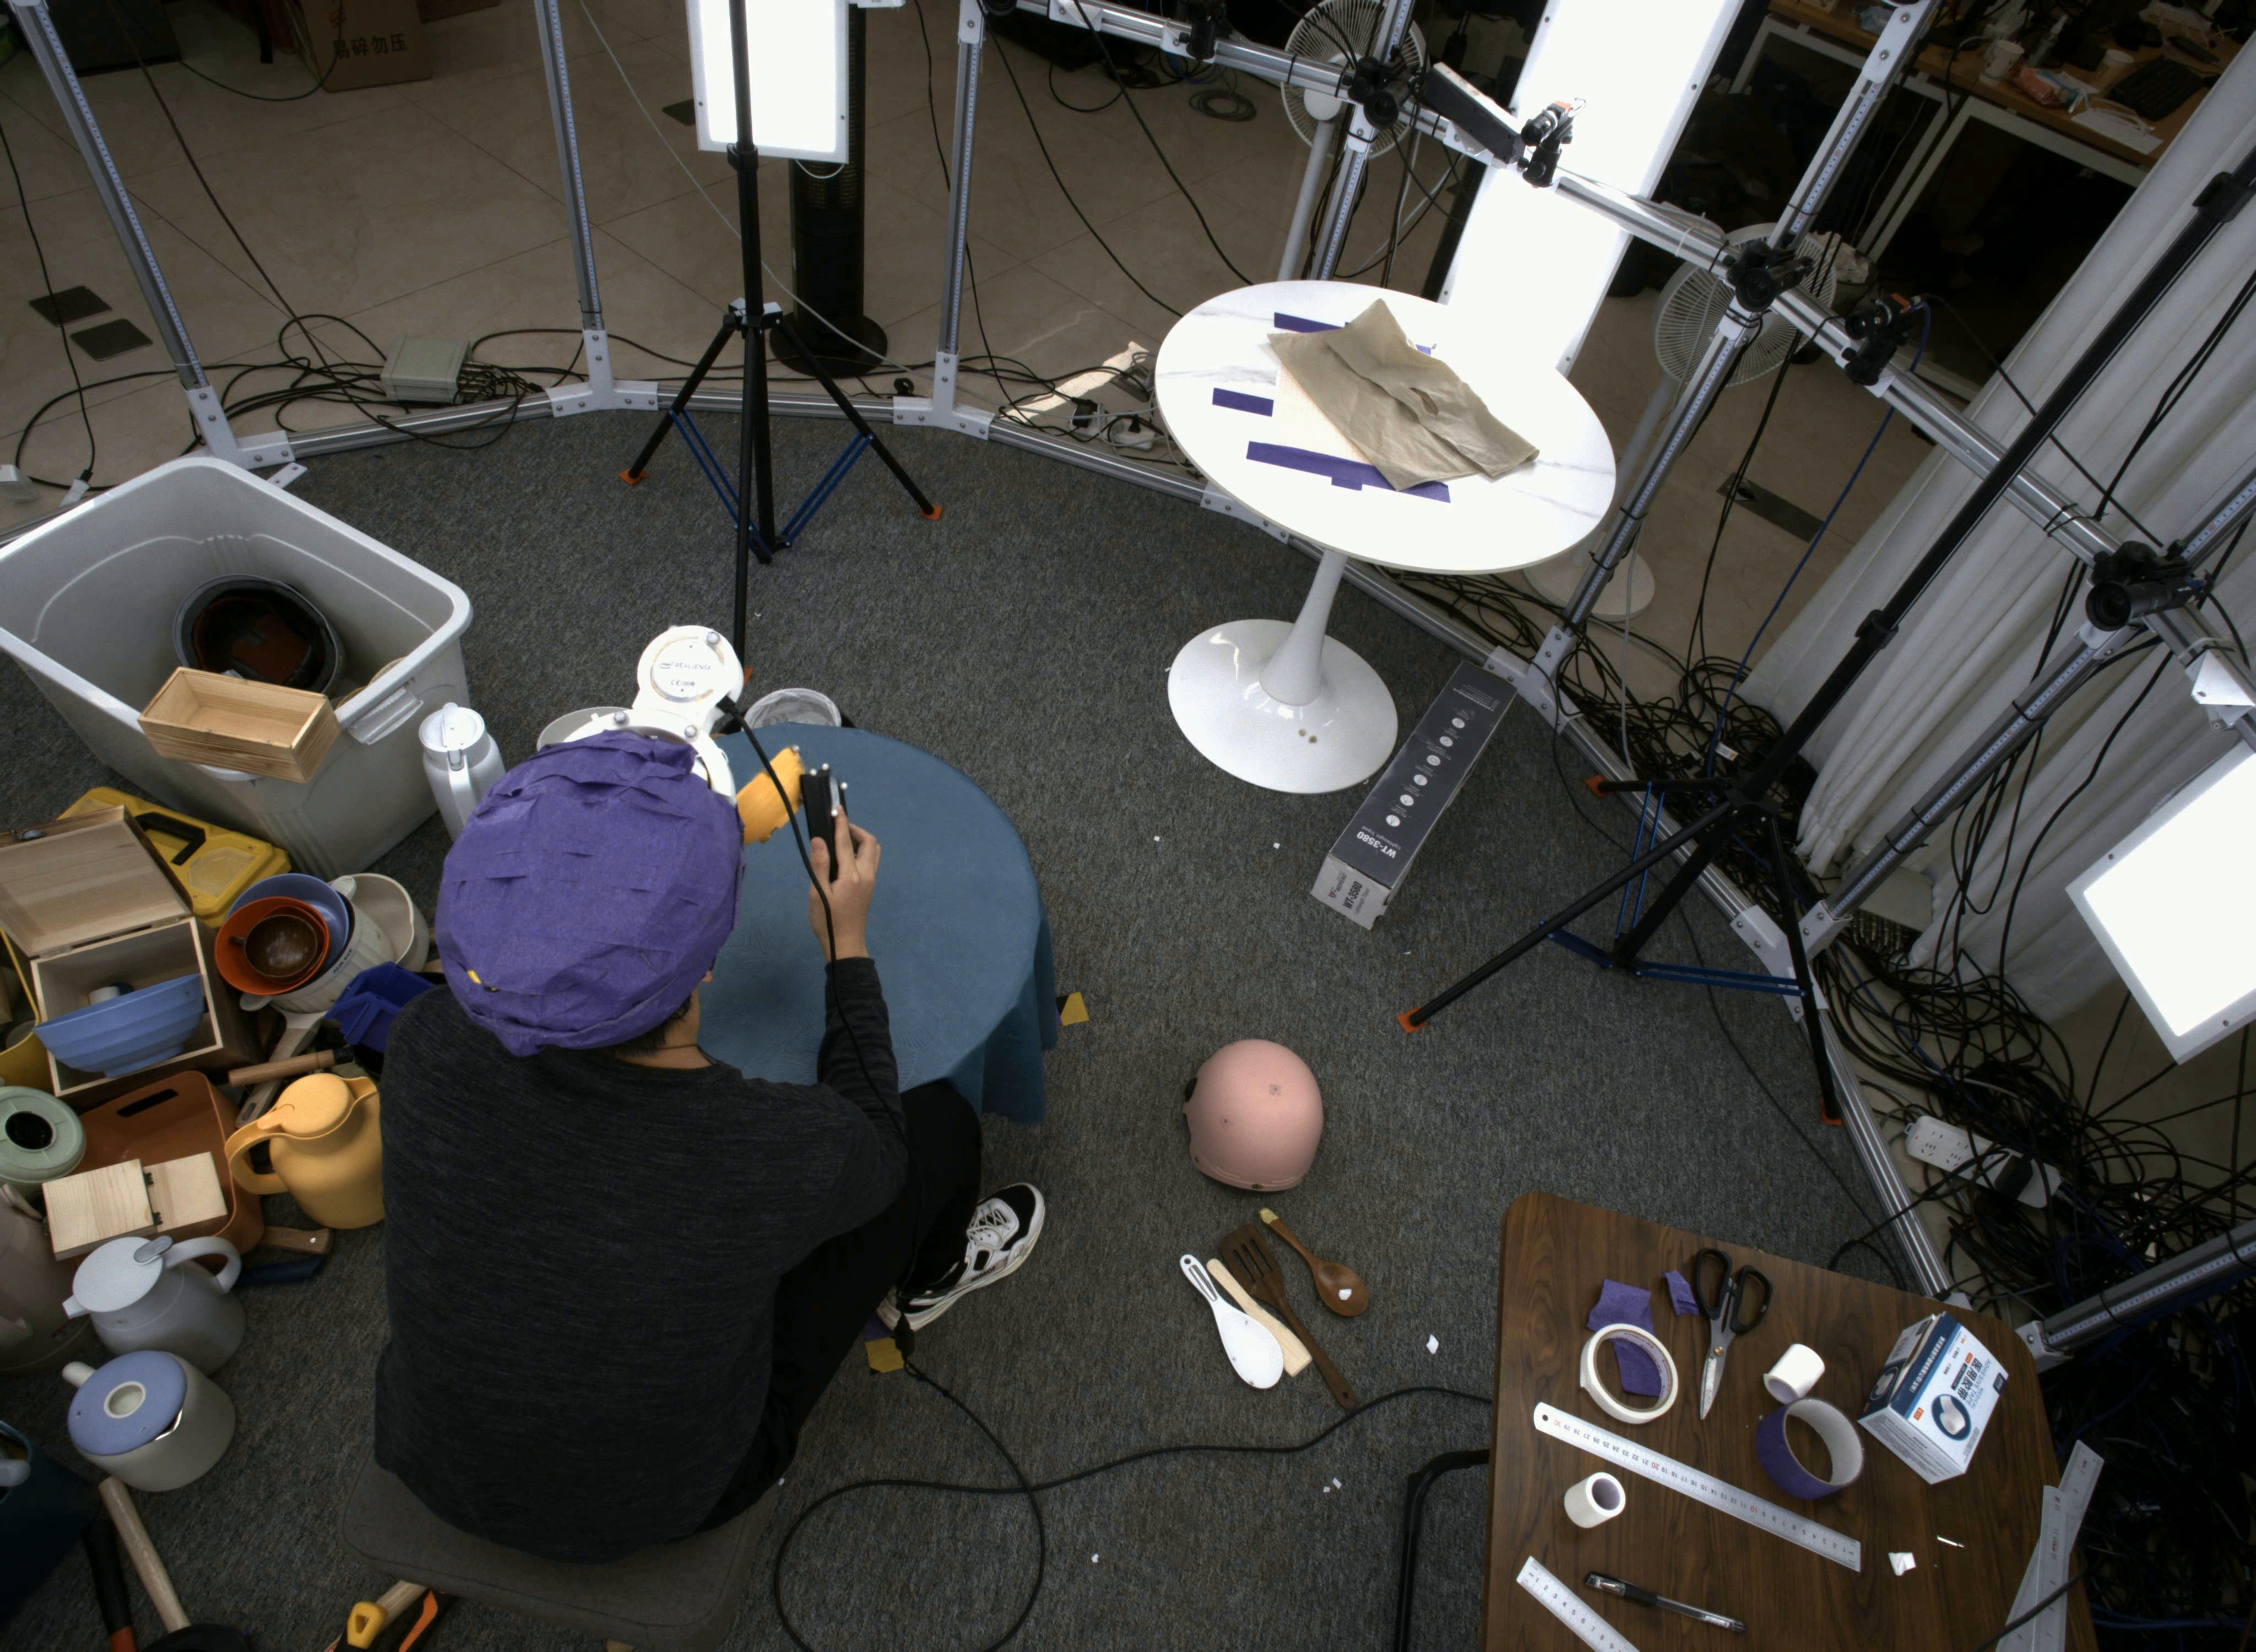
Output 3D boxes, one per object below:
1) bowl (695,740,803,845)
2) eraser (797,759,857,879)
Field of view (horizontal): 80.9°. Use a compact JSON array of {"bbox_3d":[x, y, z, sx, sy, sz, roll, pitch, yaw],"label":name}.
[{"bbox_3d":[-0.407,-0.026,1.433,0.061,0.143,0.145,46,52,-11],"label":"bowl"},{"bbox_3d":[-0.336,-0.008,1.448,0.030,0.128,0.053,-3,14,17],"label":"eraser"}]
